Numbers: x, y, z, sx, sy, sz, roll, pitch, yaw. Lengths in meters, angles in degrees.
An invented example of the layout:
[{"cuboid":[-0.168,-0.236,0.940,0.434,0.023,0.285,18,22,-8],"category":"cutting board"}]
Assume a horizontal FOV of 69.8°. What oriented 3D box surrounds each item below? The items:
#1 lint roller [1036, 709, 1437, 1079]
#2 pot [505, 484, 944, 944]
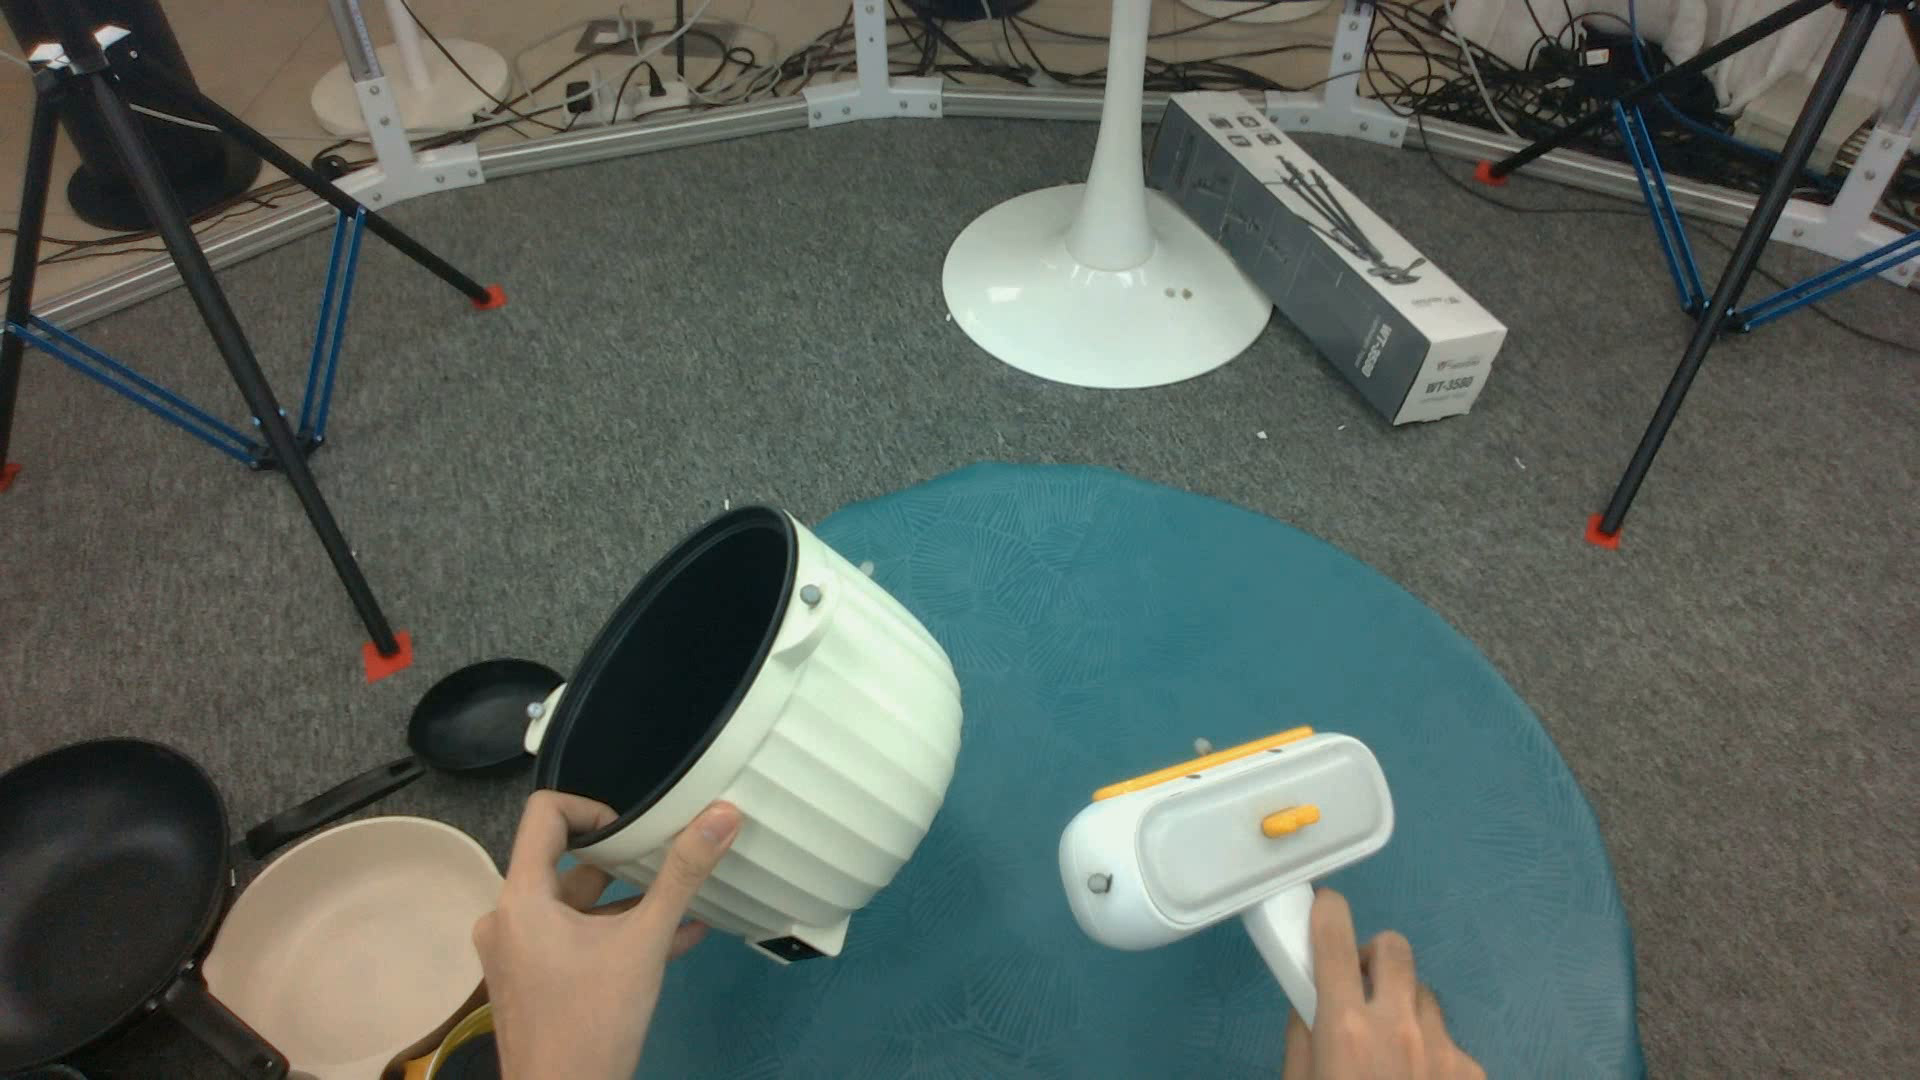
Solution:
[{"cuboid":[0.145,0.178,0.622,0.193,0.074,0.193,-10,68,-44],"category":"lint roller"},{"cuboid":[-0.103,0.081,0.668,0.239,0.142,0.191,-22,43,38],"category":"pot"}]
